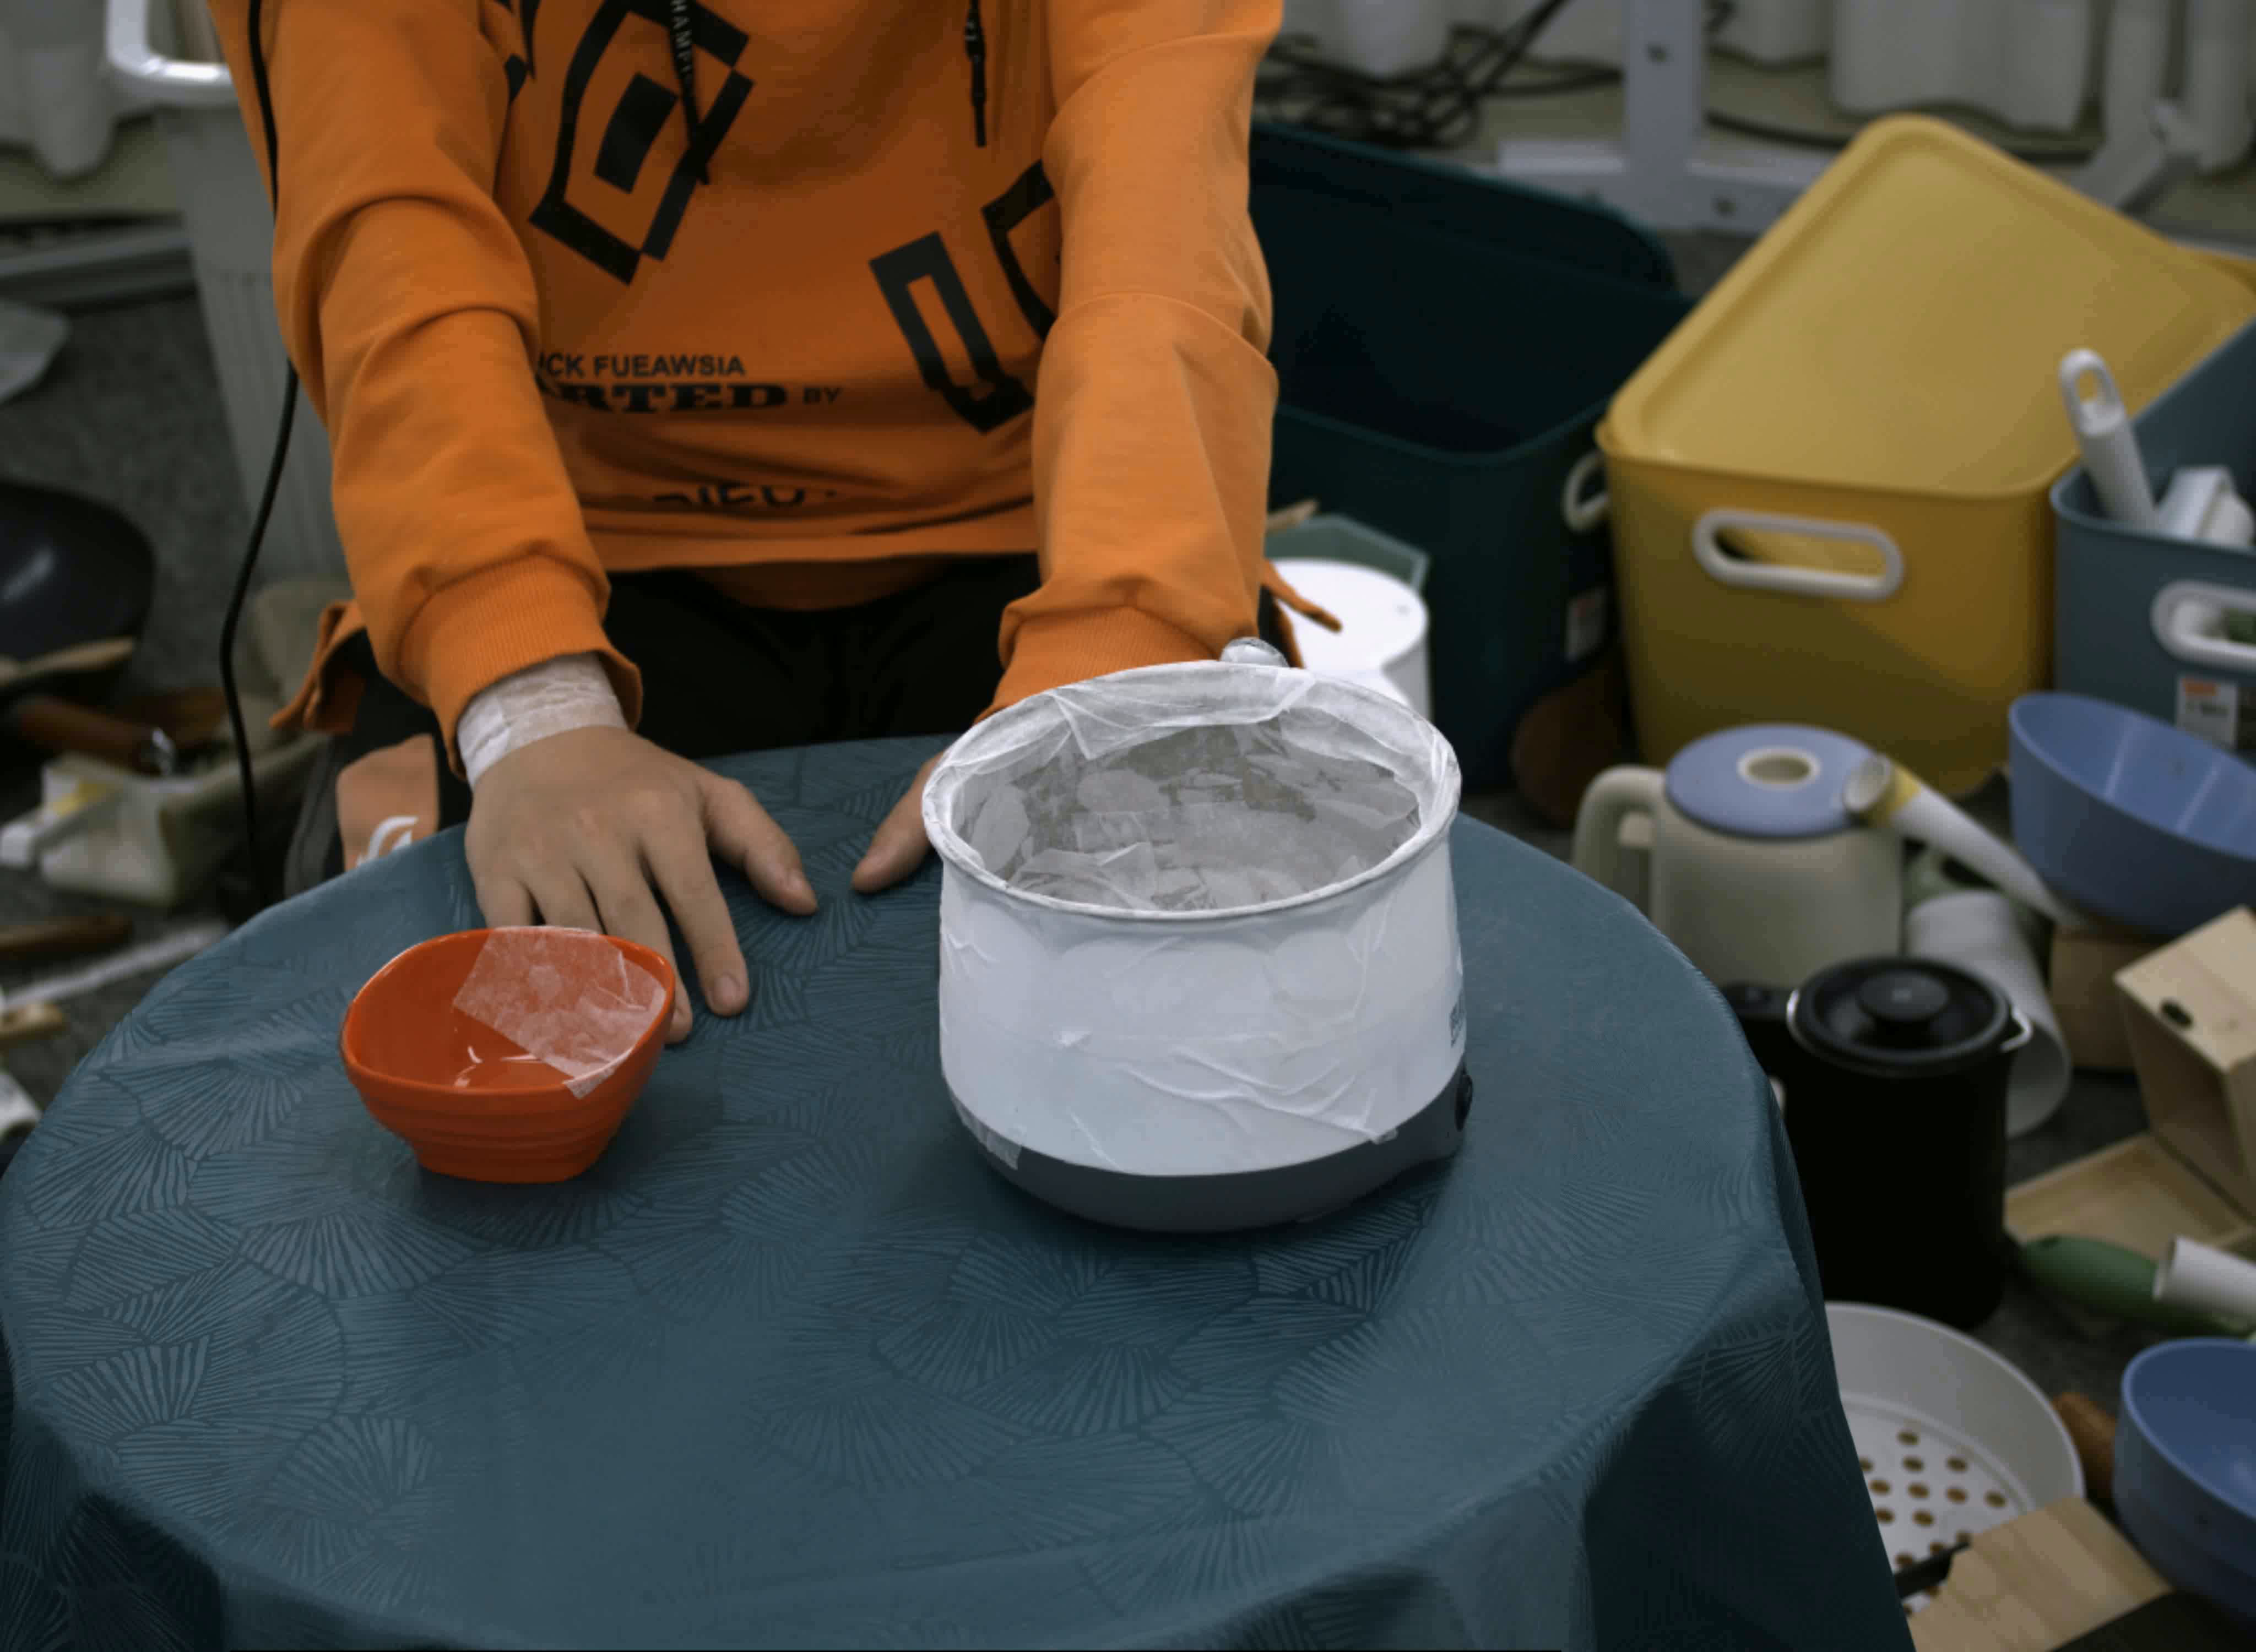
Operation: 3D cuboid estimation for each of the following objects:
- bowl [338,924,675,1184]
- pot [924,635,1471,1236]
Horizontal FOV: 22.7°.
[{"bbox_3d":[-0.207,0.082,1.903,0.118,0.051,0.121,-3,29,2],"label":"bowl"},{"bbox_3d":[0.029,0.029,1.890,0.177,0.135,0.238,3,28,10],"label":"pot"}]
